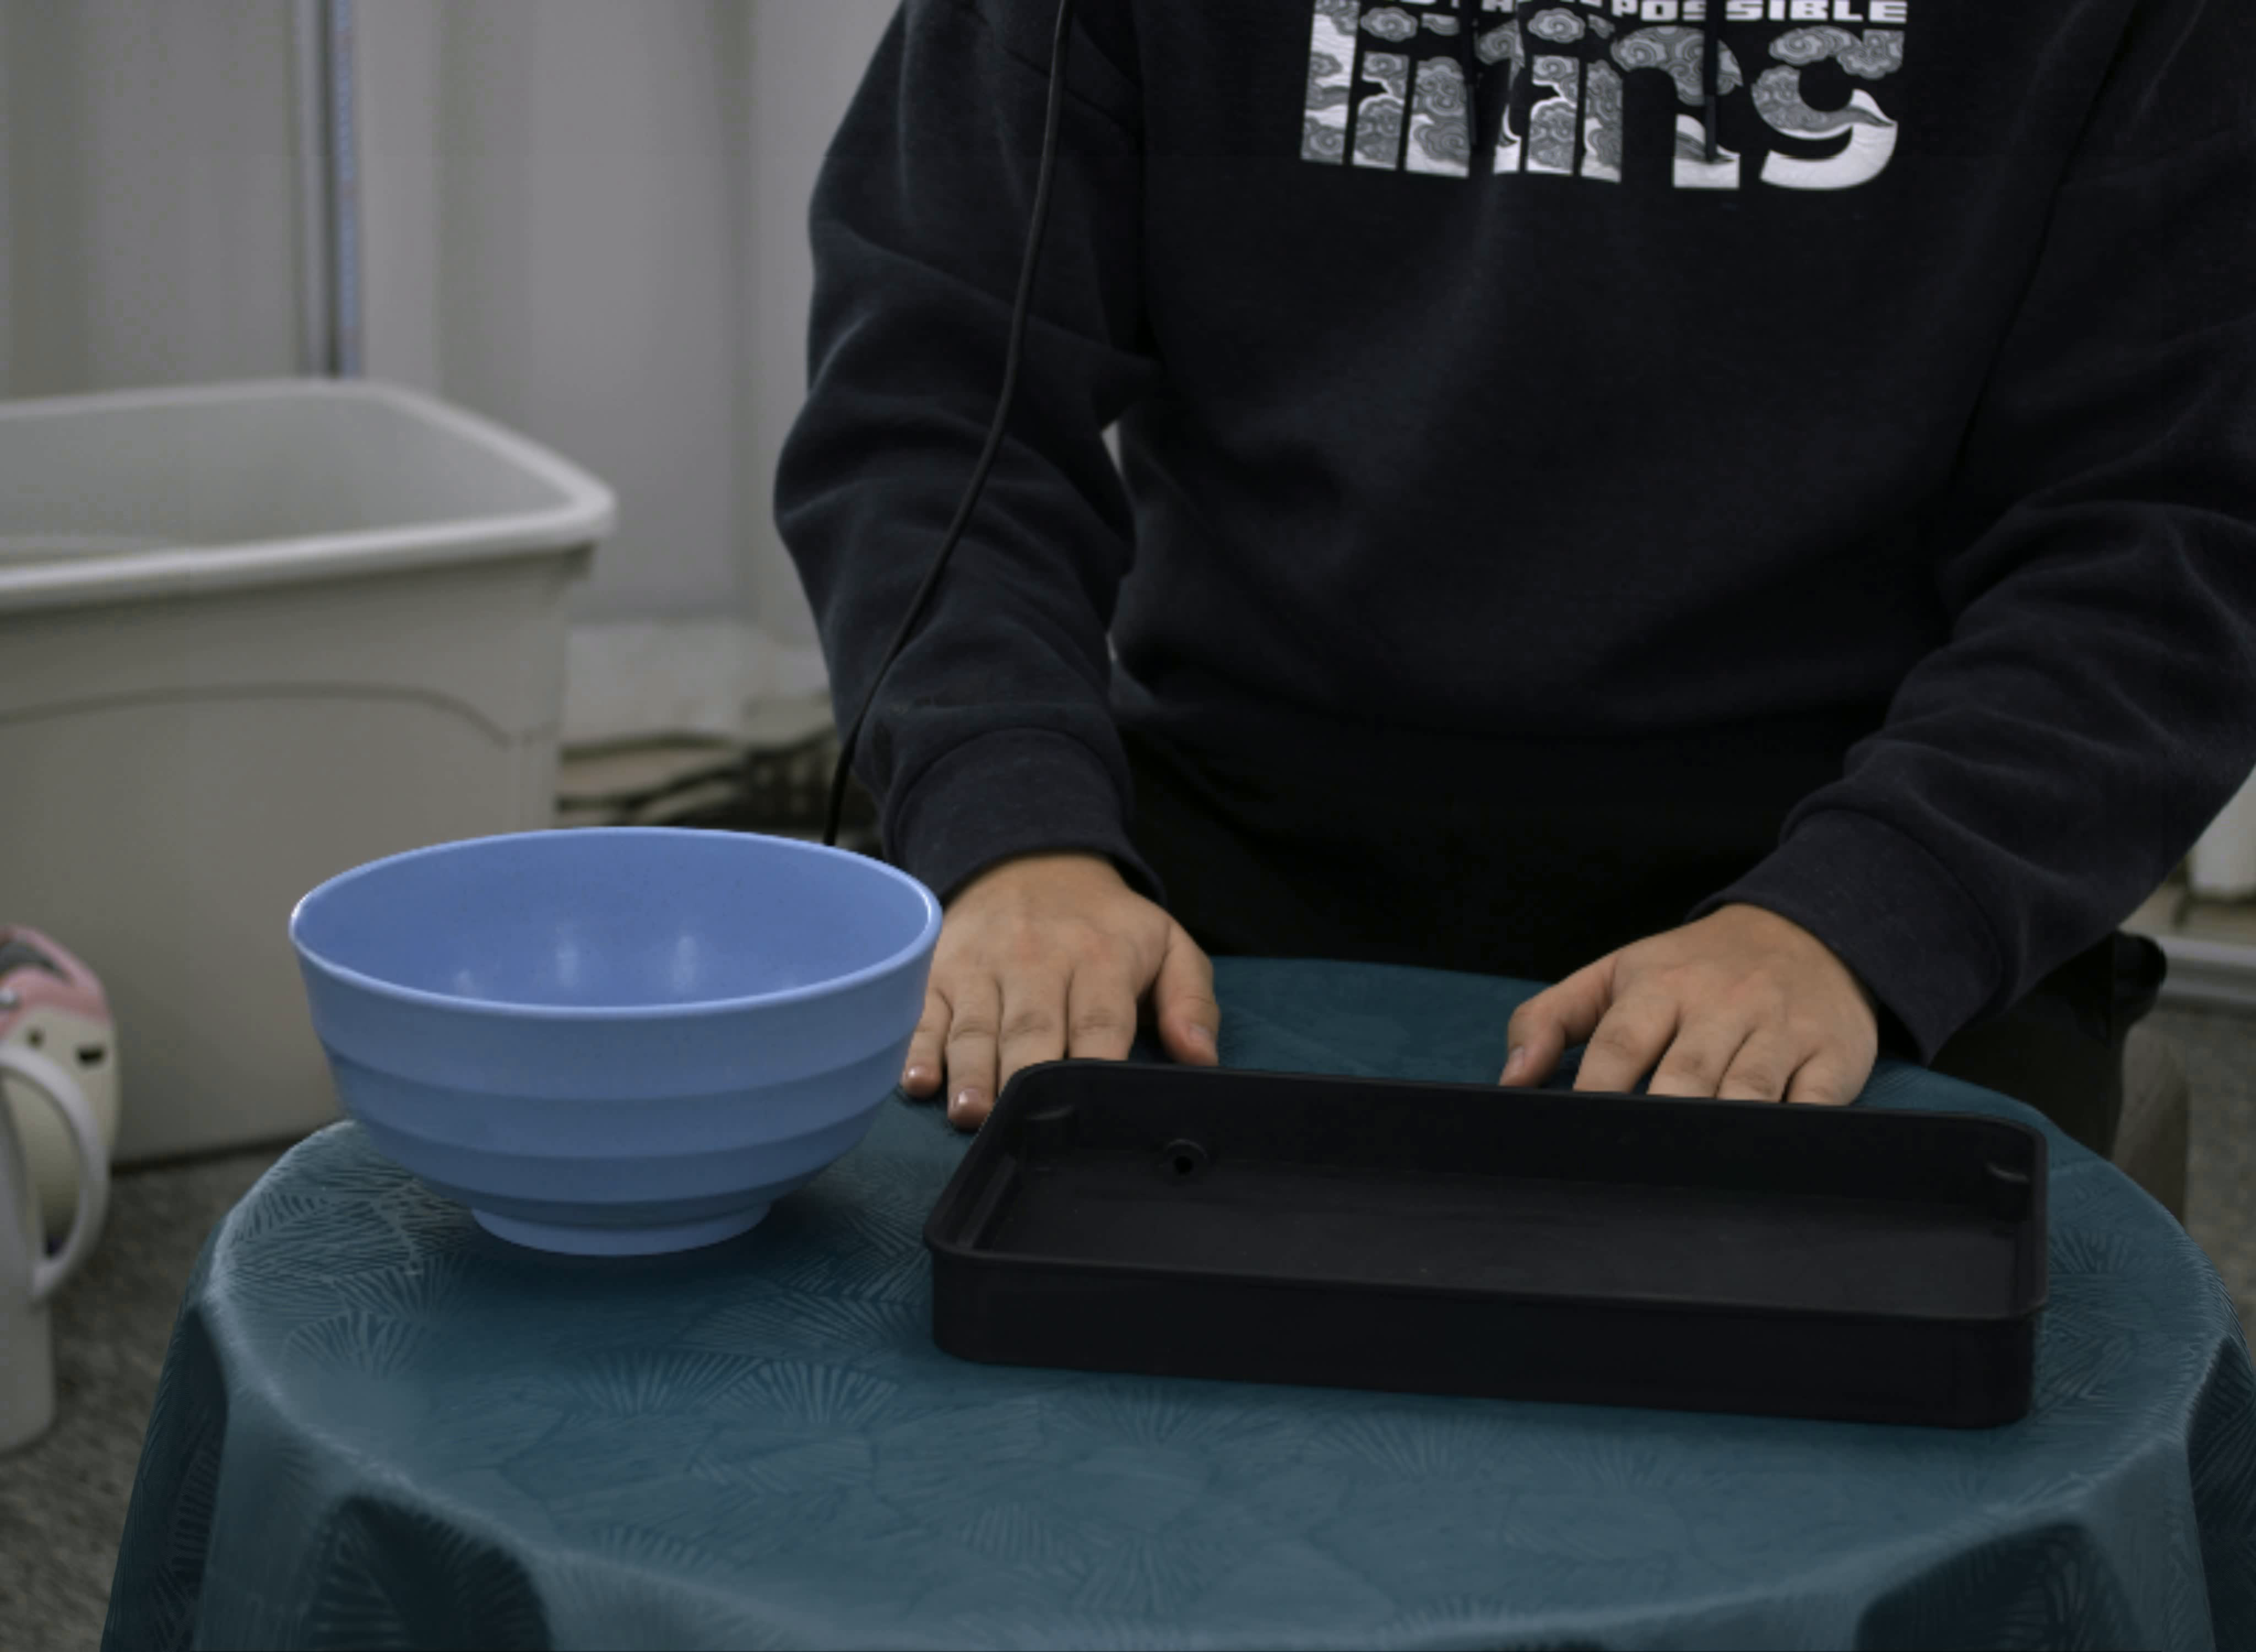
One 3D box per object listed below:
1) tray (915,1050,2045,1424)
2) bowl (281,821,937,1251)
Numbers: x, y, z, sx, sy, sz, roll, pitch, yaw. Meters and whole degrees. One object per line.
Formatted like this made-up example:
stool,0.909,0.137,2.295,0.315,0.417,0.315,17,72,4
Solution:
tray,0.107,0.117,1.542,0.316,0.037,0.184,3,15,8
bowl,-0.154,0.069,1.591,0.196,0.096,0.195,-1,16,1
